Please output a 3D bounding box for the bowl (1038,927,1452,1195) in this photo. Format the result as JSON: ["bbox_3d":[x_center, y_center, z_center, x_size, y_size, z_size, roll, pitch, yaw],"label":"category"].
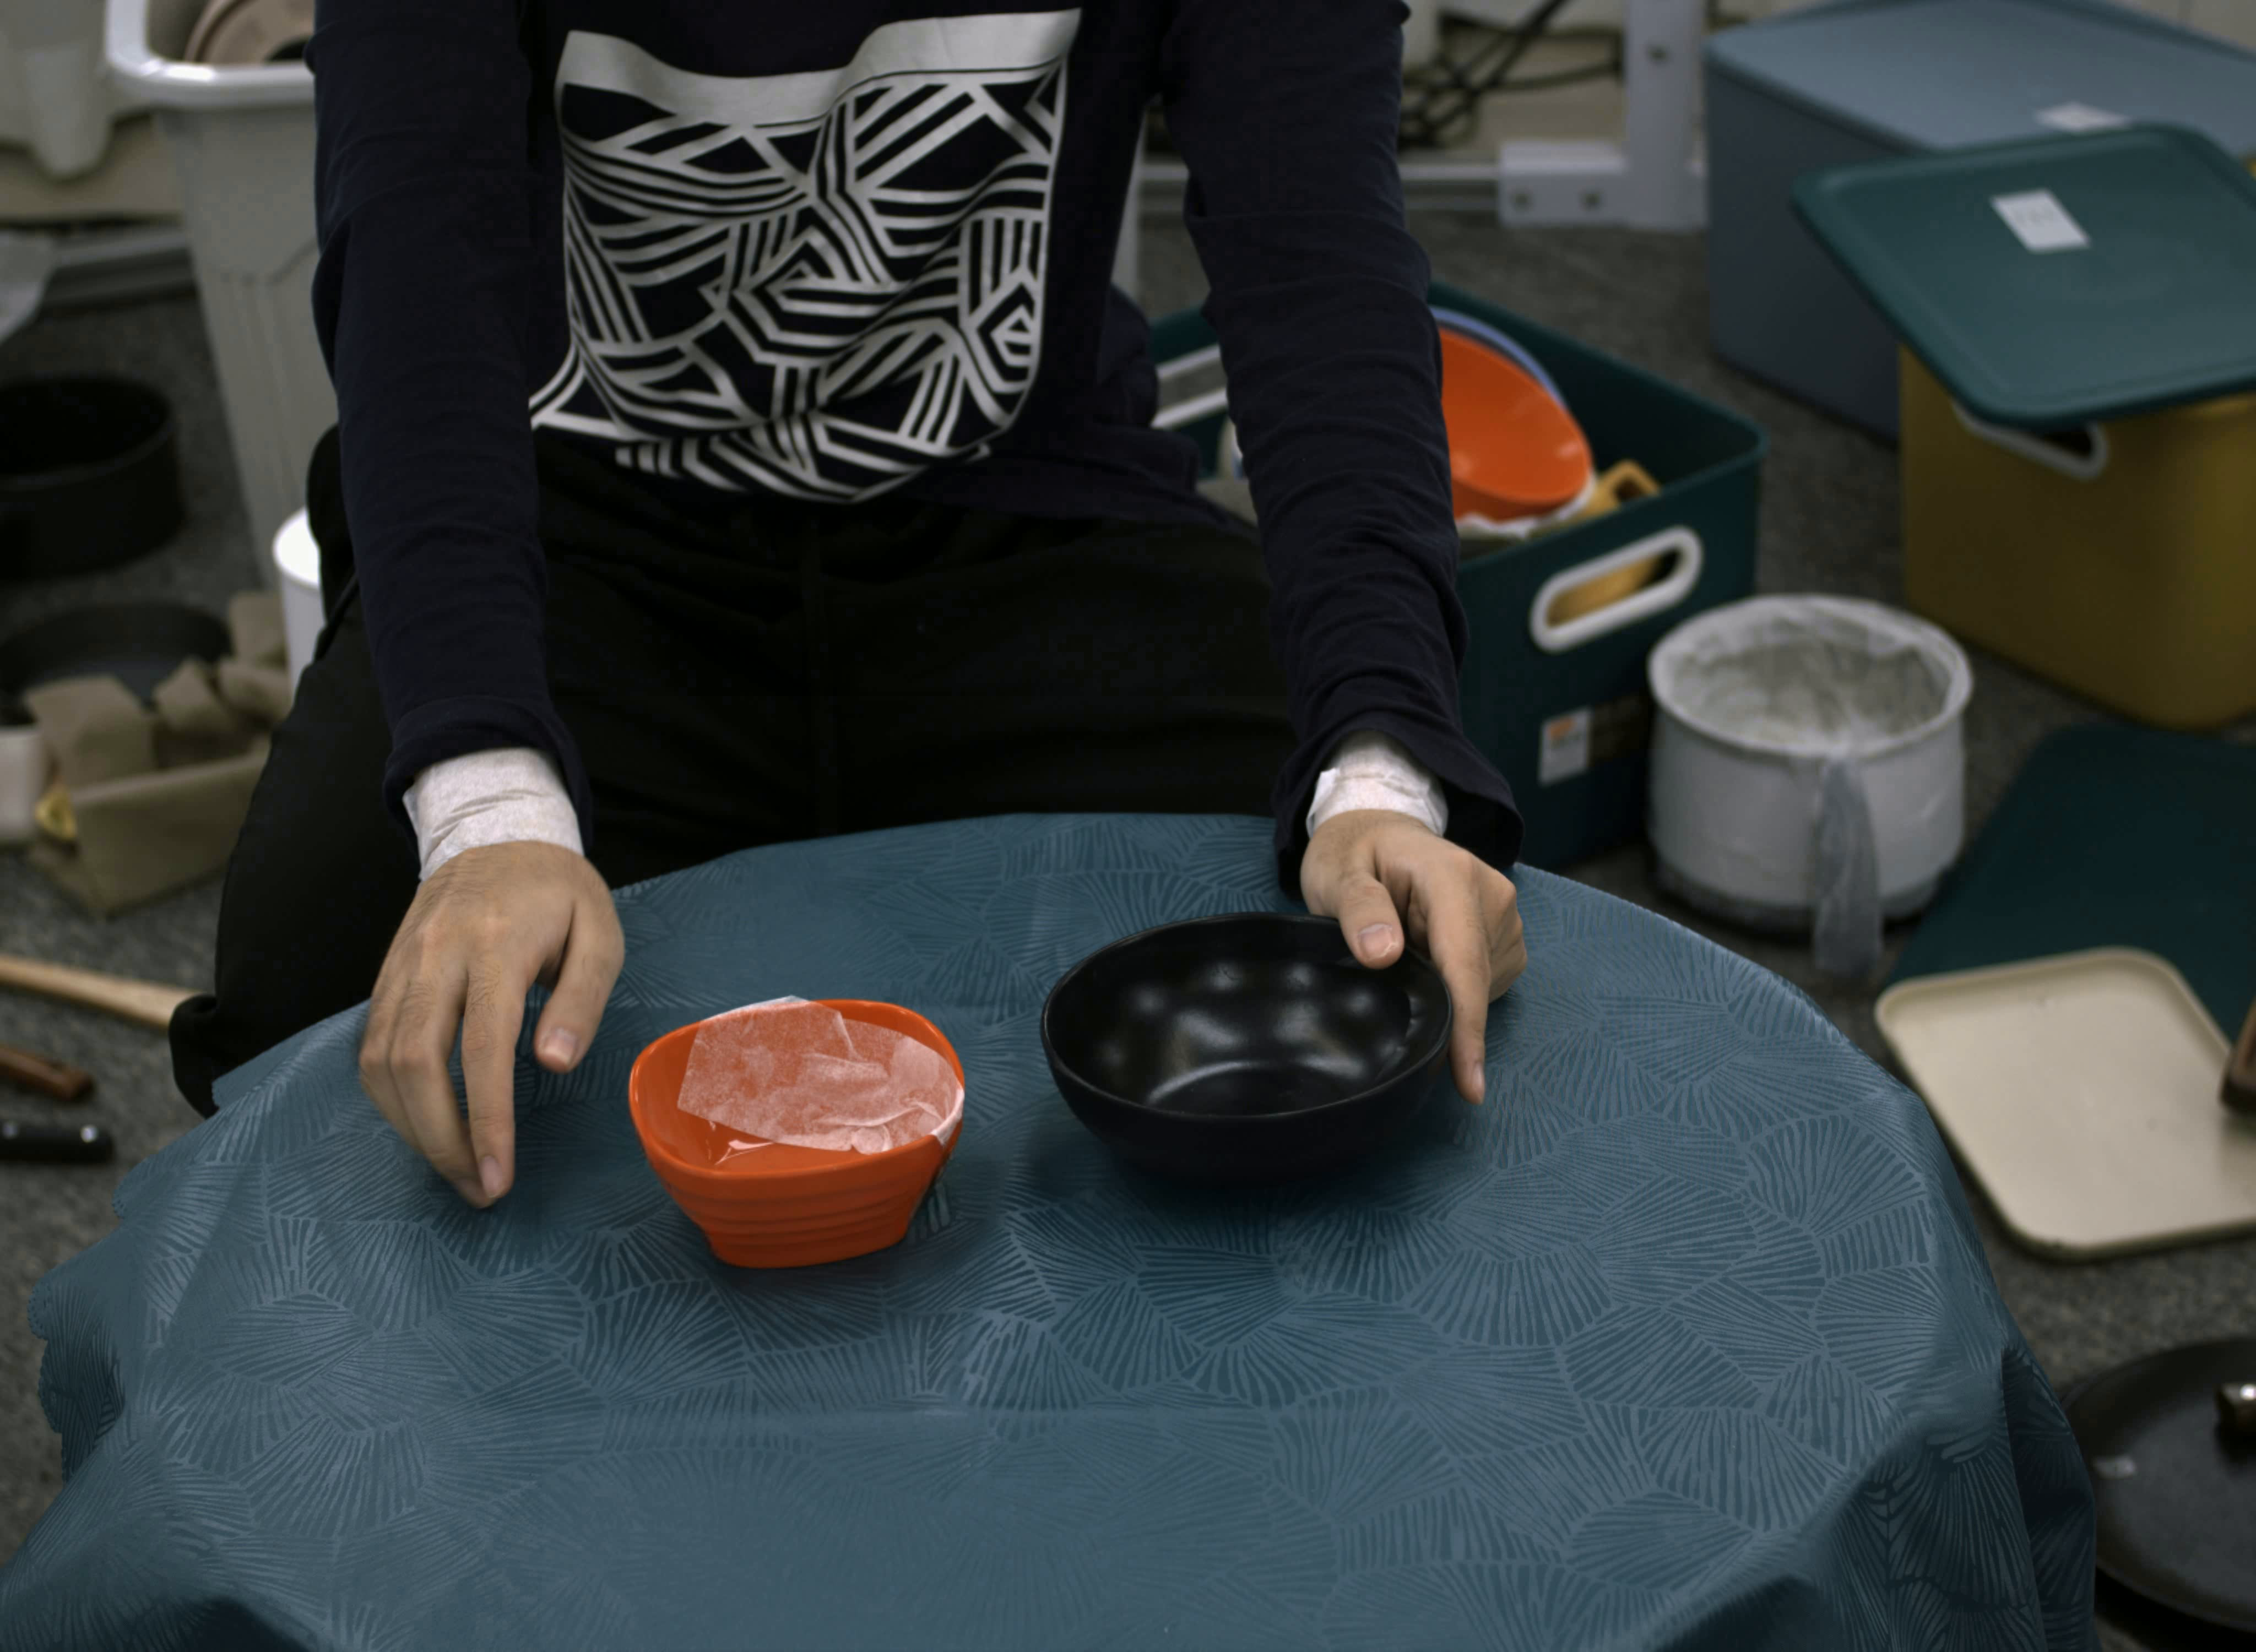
[{"bbox_3d":[0.040,0.085,1.880,0.139,0.049,0.142,-3,23,2],"label":"bowl"}]

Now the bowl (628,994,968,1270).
[{"bbox_3d":[-0.107,0.105,1.847,0.118,0.051,0.121,-3,28,2],"label":"bowl"}]
